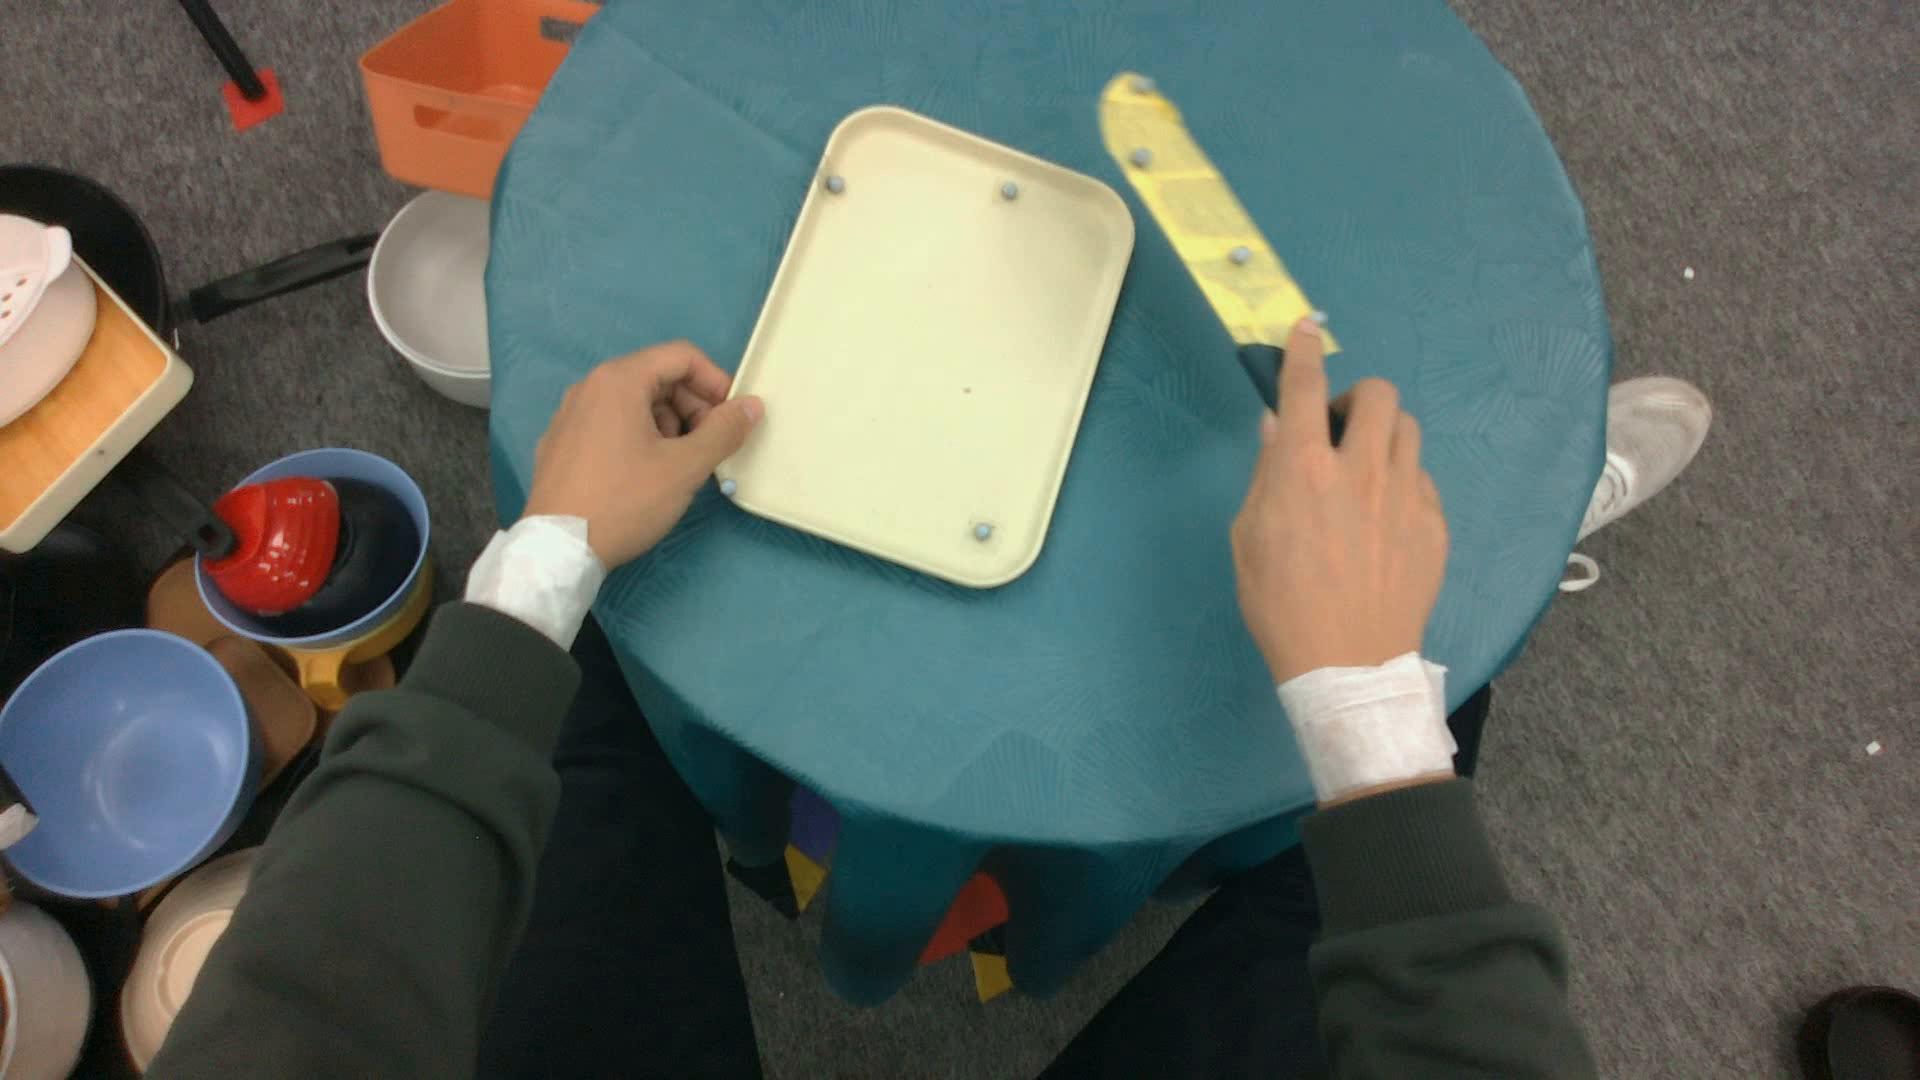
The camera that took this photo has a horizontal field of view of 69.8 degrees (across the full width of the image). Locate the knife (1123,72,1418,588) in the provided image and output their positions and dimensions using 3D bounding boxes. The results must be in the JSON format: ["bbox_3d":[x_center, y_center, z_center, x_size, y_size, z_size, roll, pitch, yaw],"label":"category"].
[{"bbox_3d":[0.151,-0.110,0.664,0.081,0.027,0.290,-12,72,-37],"label":"knife"}]

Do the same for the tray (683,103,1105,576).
[{"bbox_3d":[-0.028,-0.106,0.706,0.171,0.017,0.240,19,69,-4],"label":"tray"}]
